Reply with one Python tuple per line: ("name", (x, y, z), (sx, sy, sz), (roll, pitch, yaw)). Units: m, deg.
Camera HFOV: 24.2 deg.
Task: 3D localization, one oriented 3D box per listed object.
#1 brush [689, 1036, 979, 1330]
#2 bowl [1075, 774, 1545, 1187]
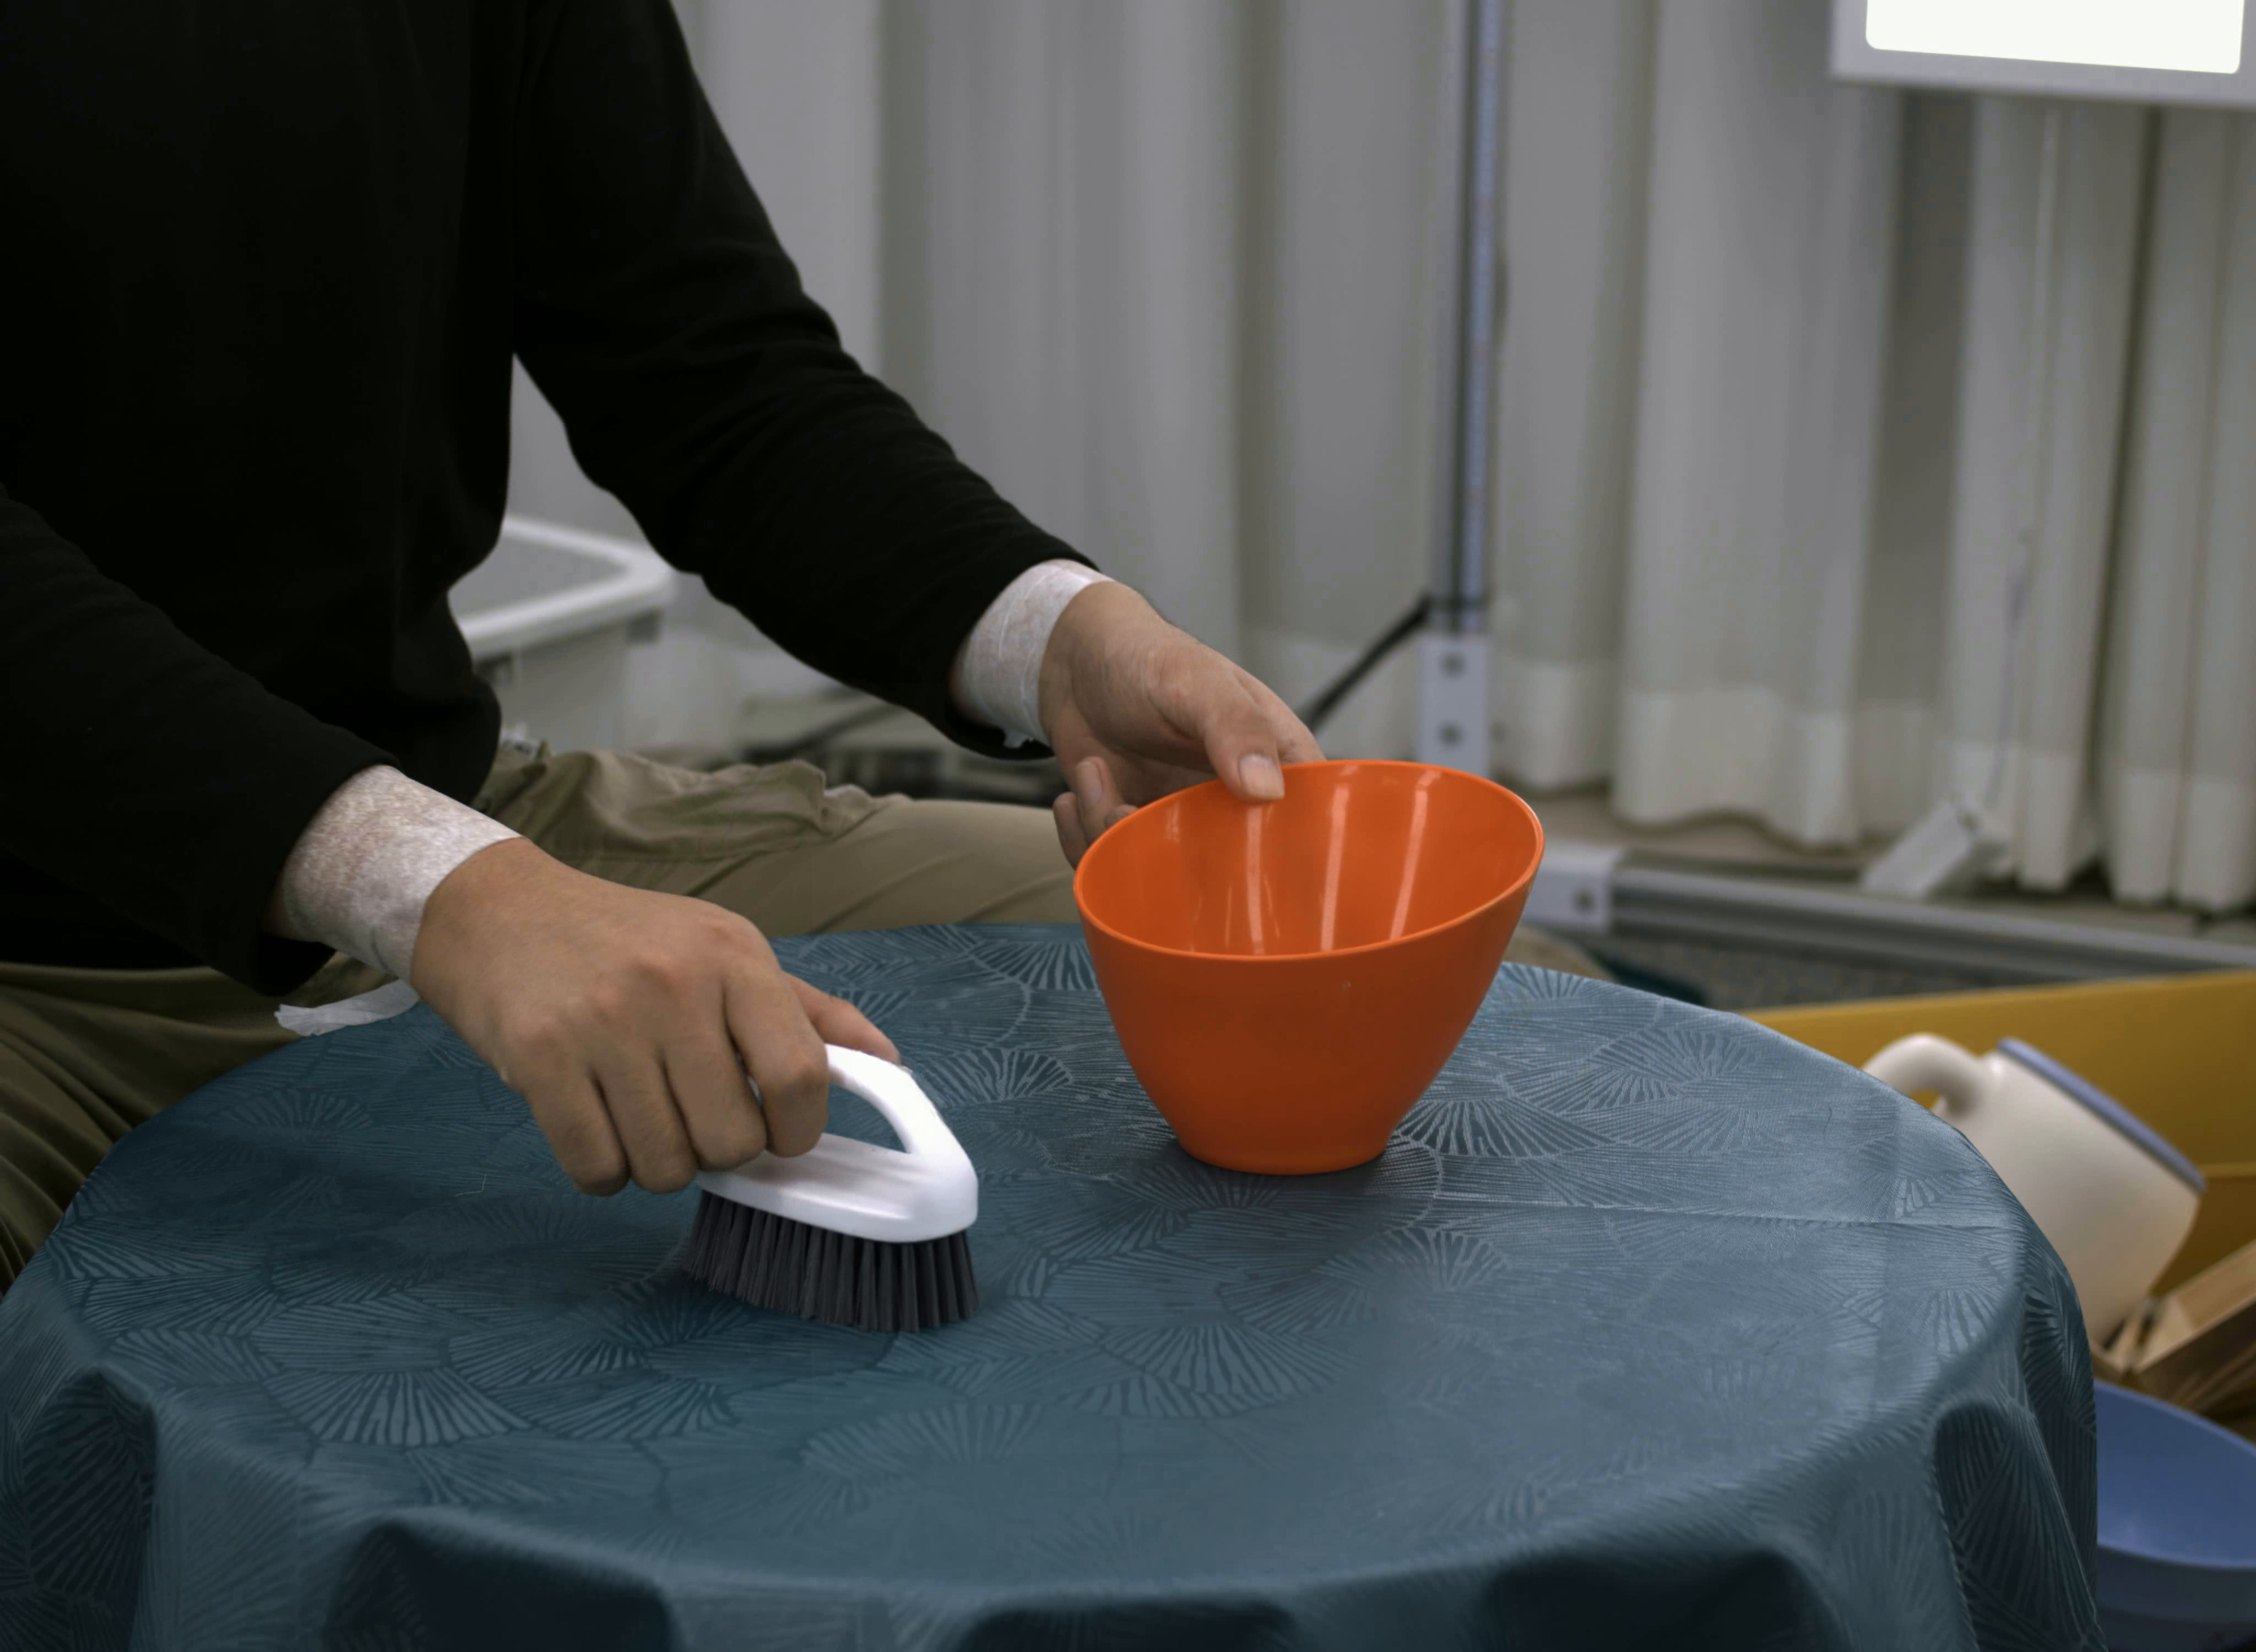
("brush", (-0.087, 0.099, 1.529), (0.098, 0.073, 0.050), (14, 22, 40))
("bowl", (0.058, 0.052, 1.659), (0.147, 0.105, 0.147), (-1, 16, 1))
